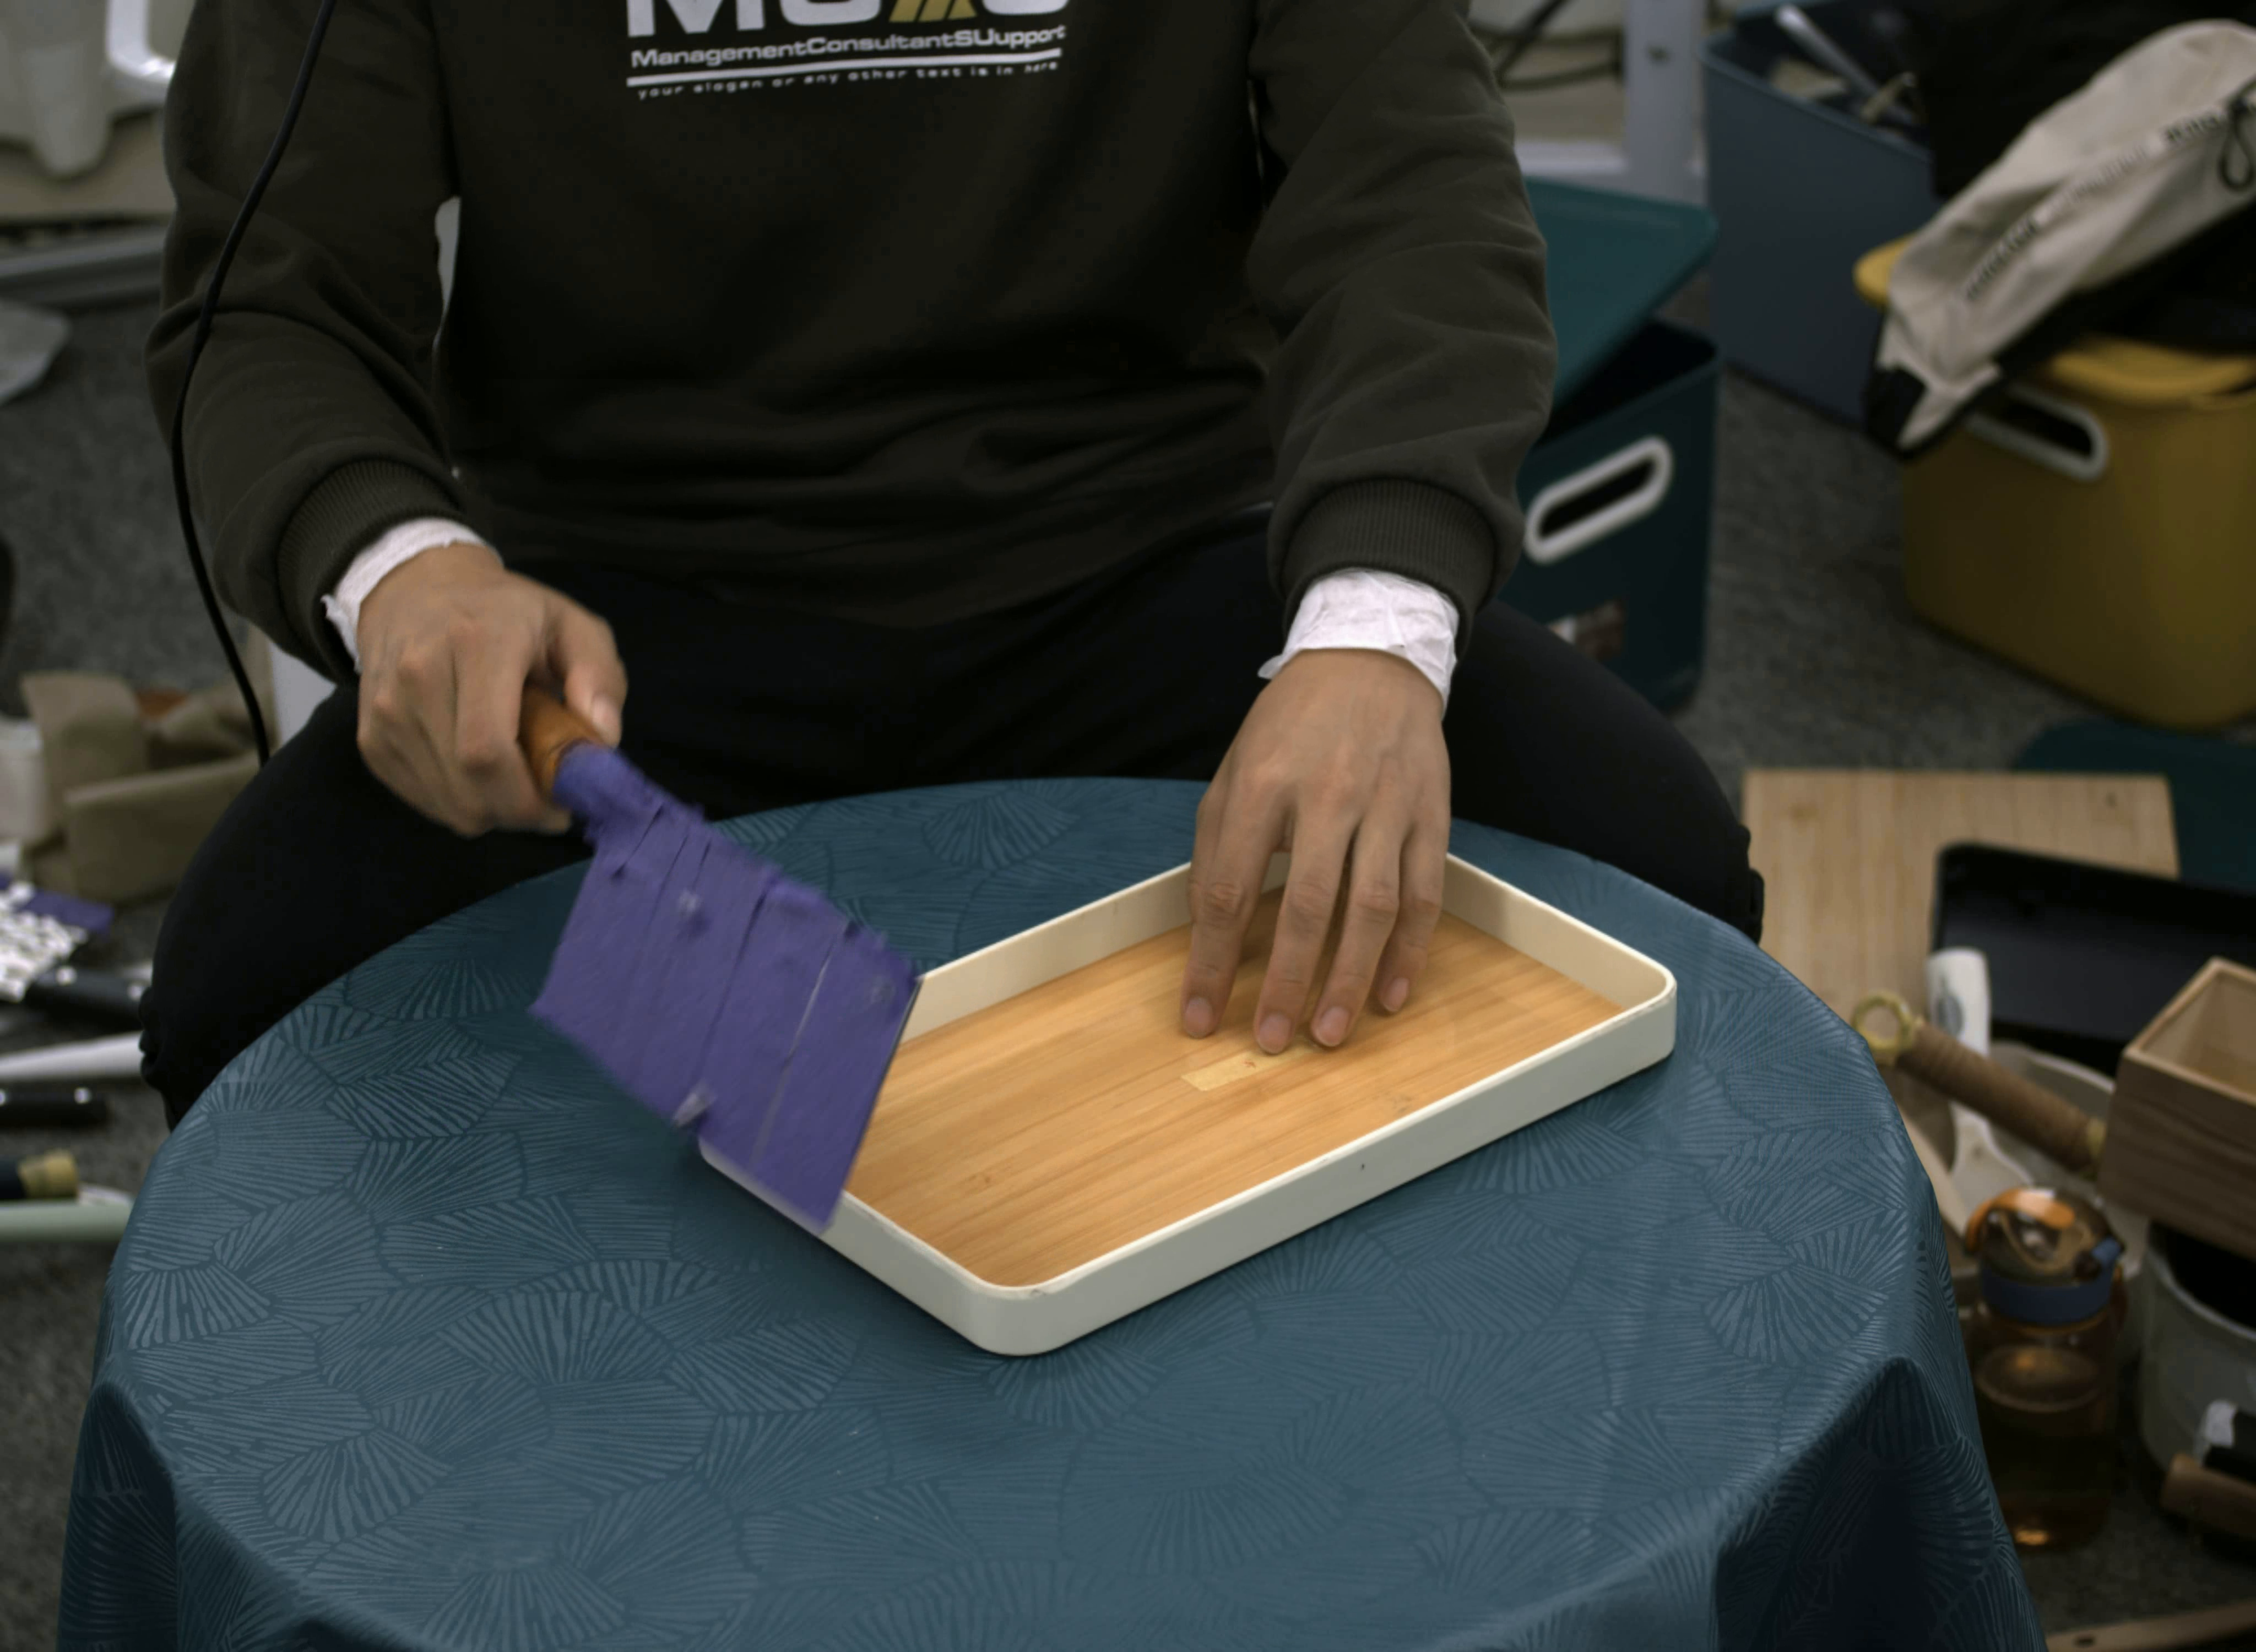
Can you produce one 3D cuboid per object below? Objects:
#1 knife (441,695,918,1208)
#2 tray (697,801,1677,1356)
[{"bbox_3d":[-0.164,0.039,1.847,0.032,0.104,0.316,23,4,-34],"label":"knife"},{"bbox_3d":[0.020,0.080,1.909,0.303,0.027,0.192,-22,34,-33],"label":"tray"}]
